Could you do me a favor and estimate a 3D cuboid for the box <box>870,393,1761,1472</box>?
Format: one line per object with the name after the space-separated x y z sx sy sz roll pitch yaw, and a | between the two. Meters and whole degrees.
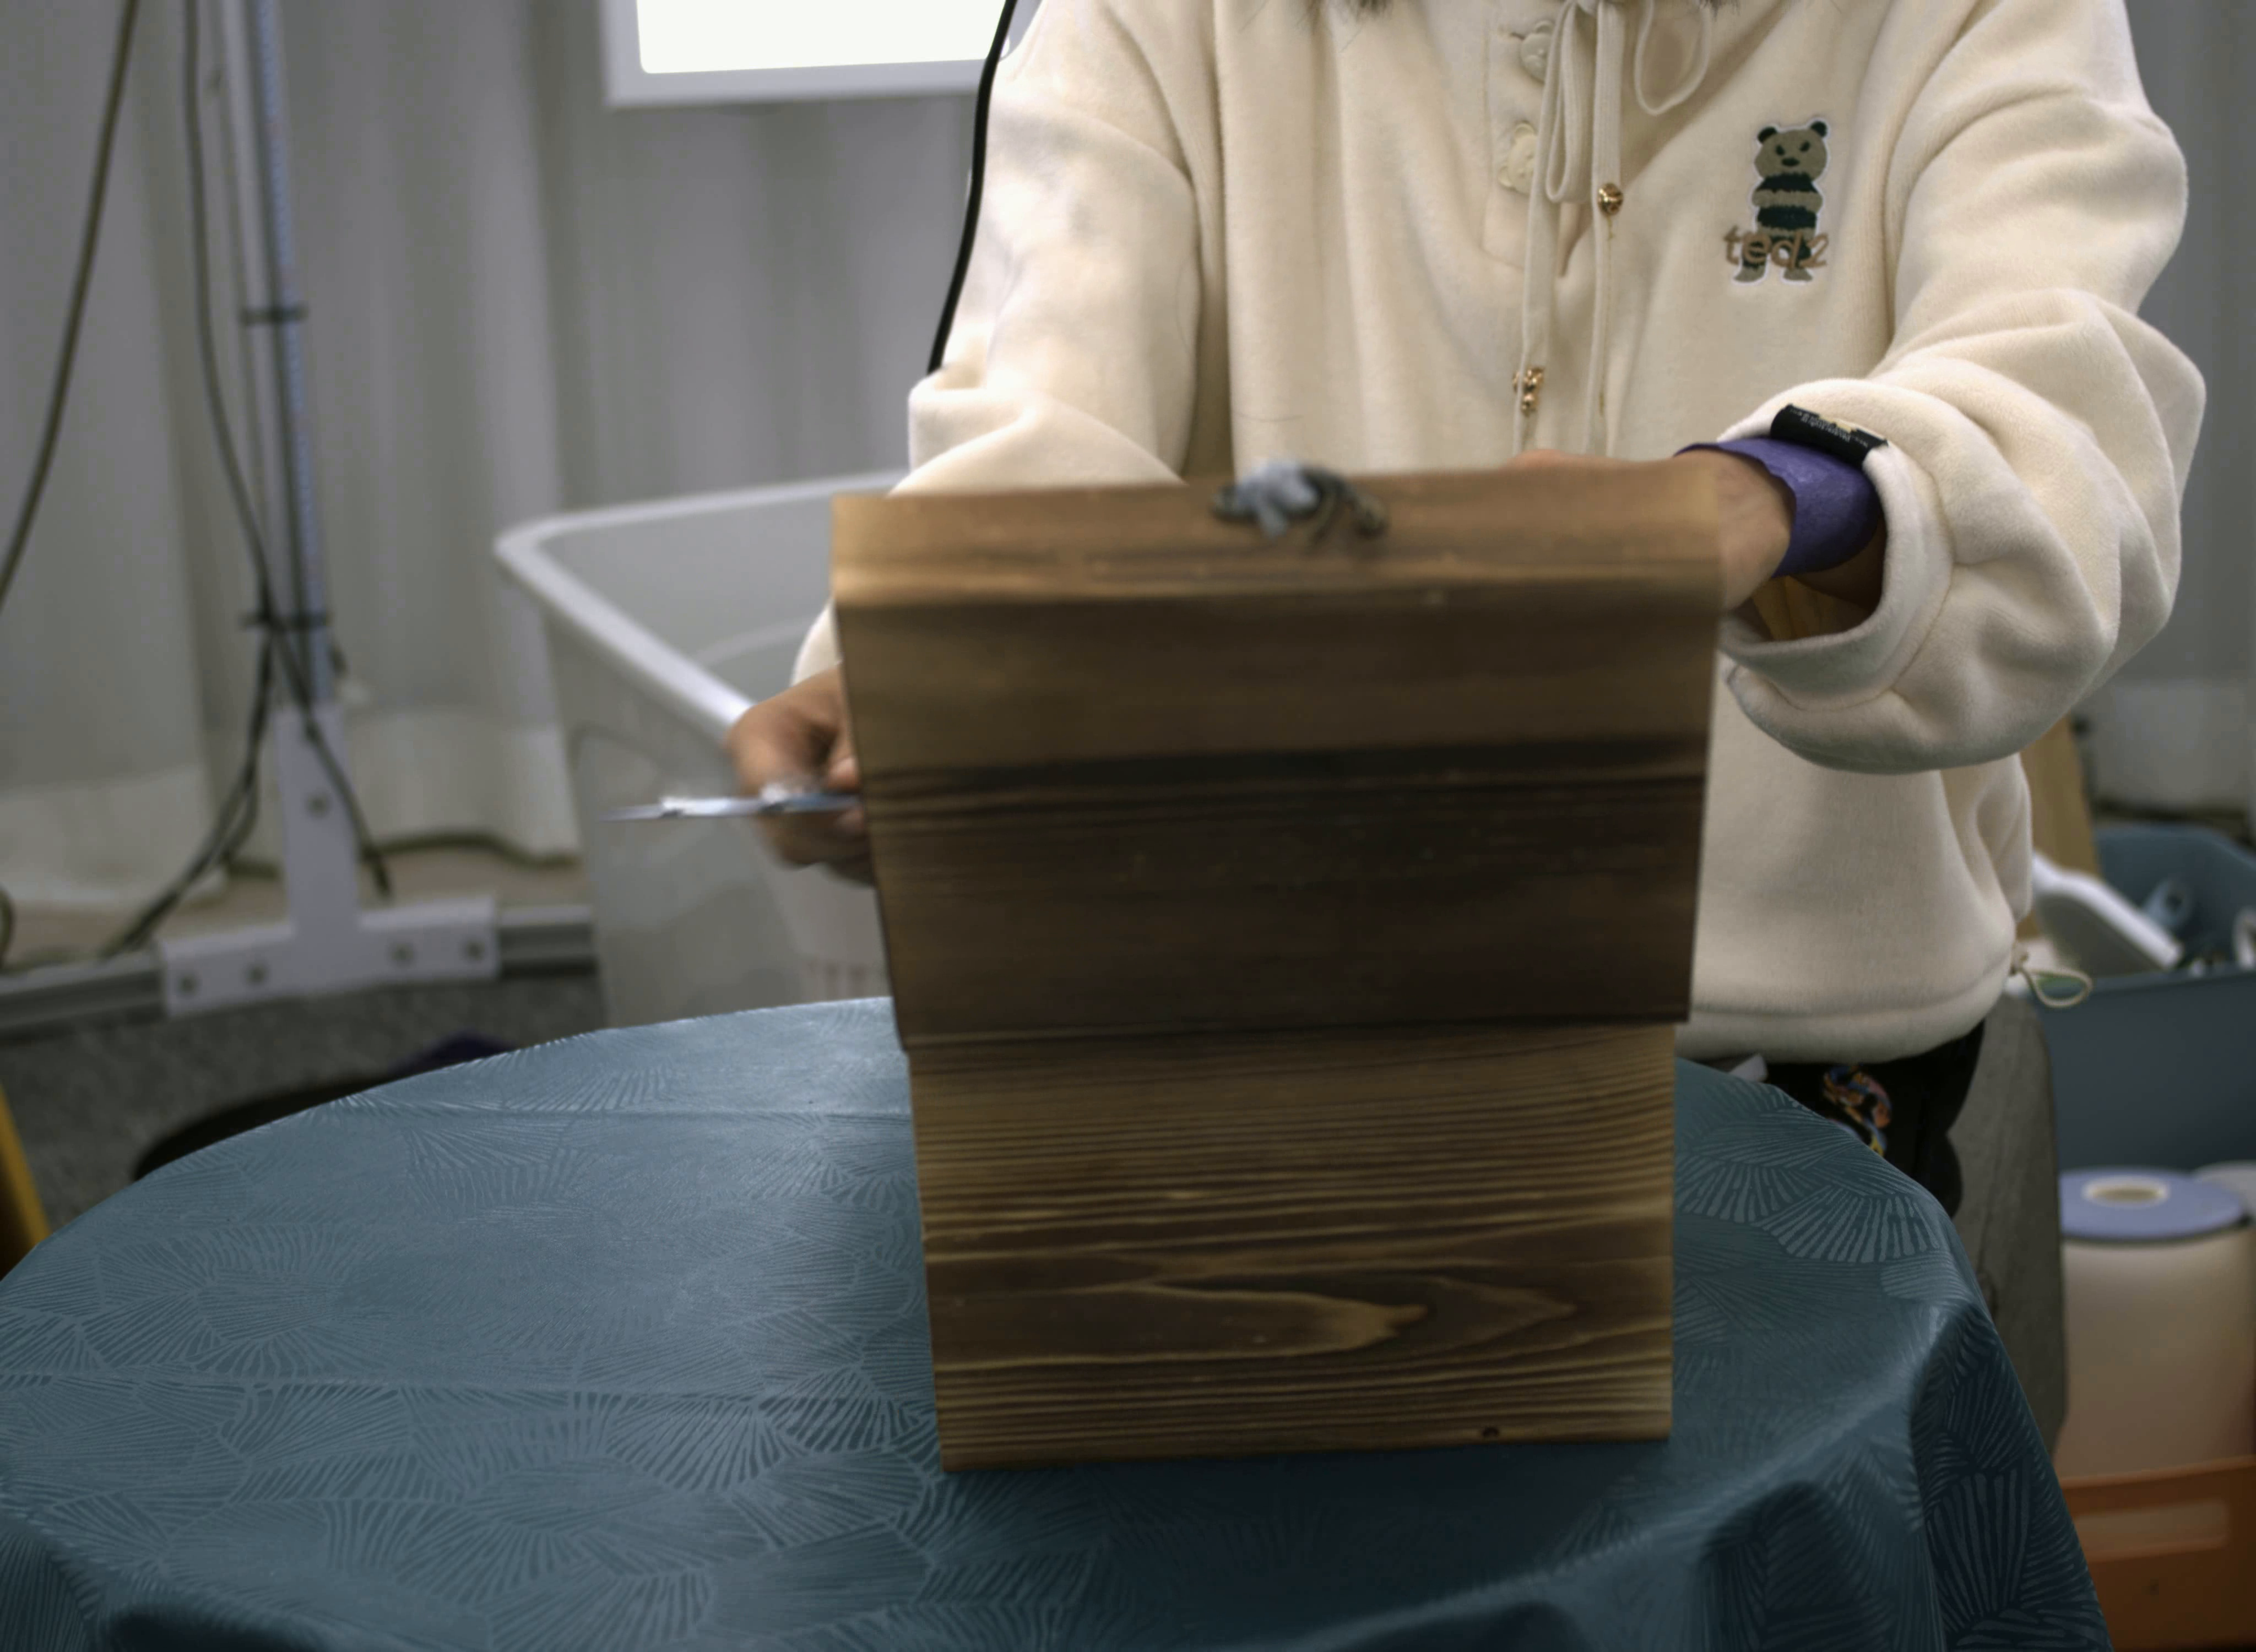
0.043 -0.005 1.440 0.208 0.371 0.326 -2 32 1 | box

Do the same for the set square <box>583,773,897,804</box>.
-0.102 -0.013 1.663 0.131 0.006 0.061 -3 5 -11 | set square
